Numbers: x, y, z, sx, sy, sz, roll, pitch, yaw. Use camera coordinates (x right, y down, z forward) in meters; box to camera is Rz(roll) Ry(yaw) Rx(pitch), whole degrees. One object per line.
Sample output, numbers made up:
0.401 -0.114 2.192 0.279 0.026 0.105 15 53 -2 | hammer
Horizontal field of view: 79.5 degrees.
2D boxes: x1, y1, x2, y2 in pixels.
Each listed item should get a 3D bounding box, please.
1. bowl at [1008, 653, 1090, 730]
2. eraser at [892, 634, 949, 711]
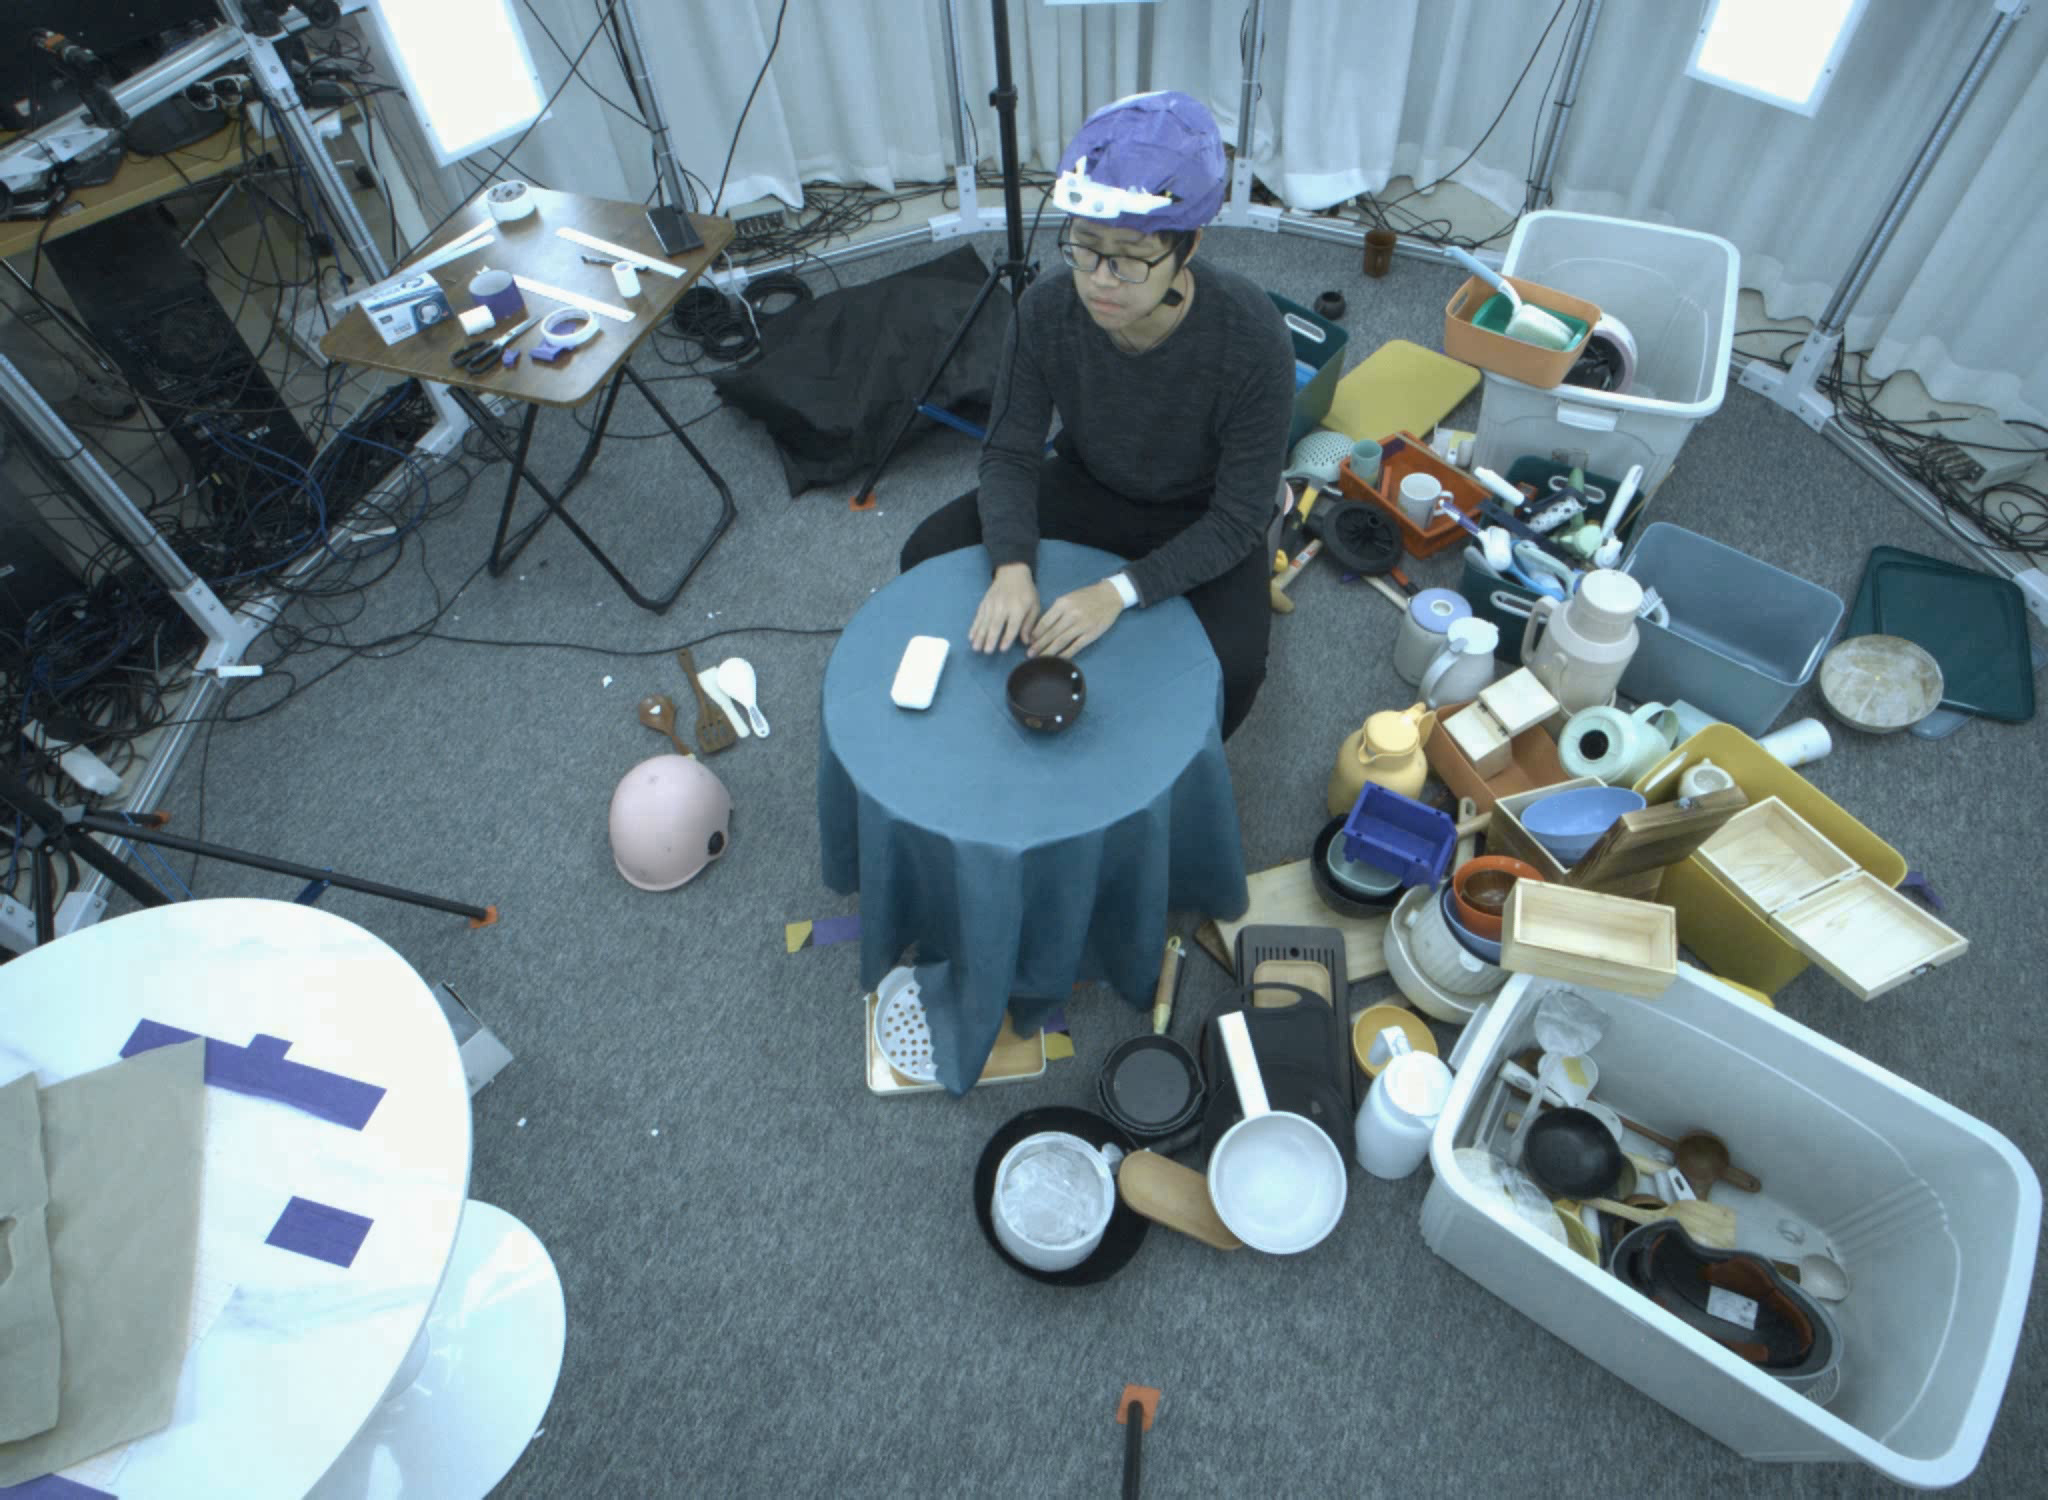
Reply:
0.039 -0.078 1.795 0.117 0.071 0.117 -5 50 7 | bowl
-0.155 -0.119 1.858 0.063 0.035 0.130 10 57 8 | eraser
